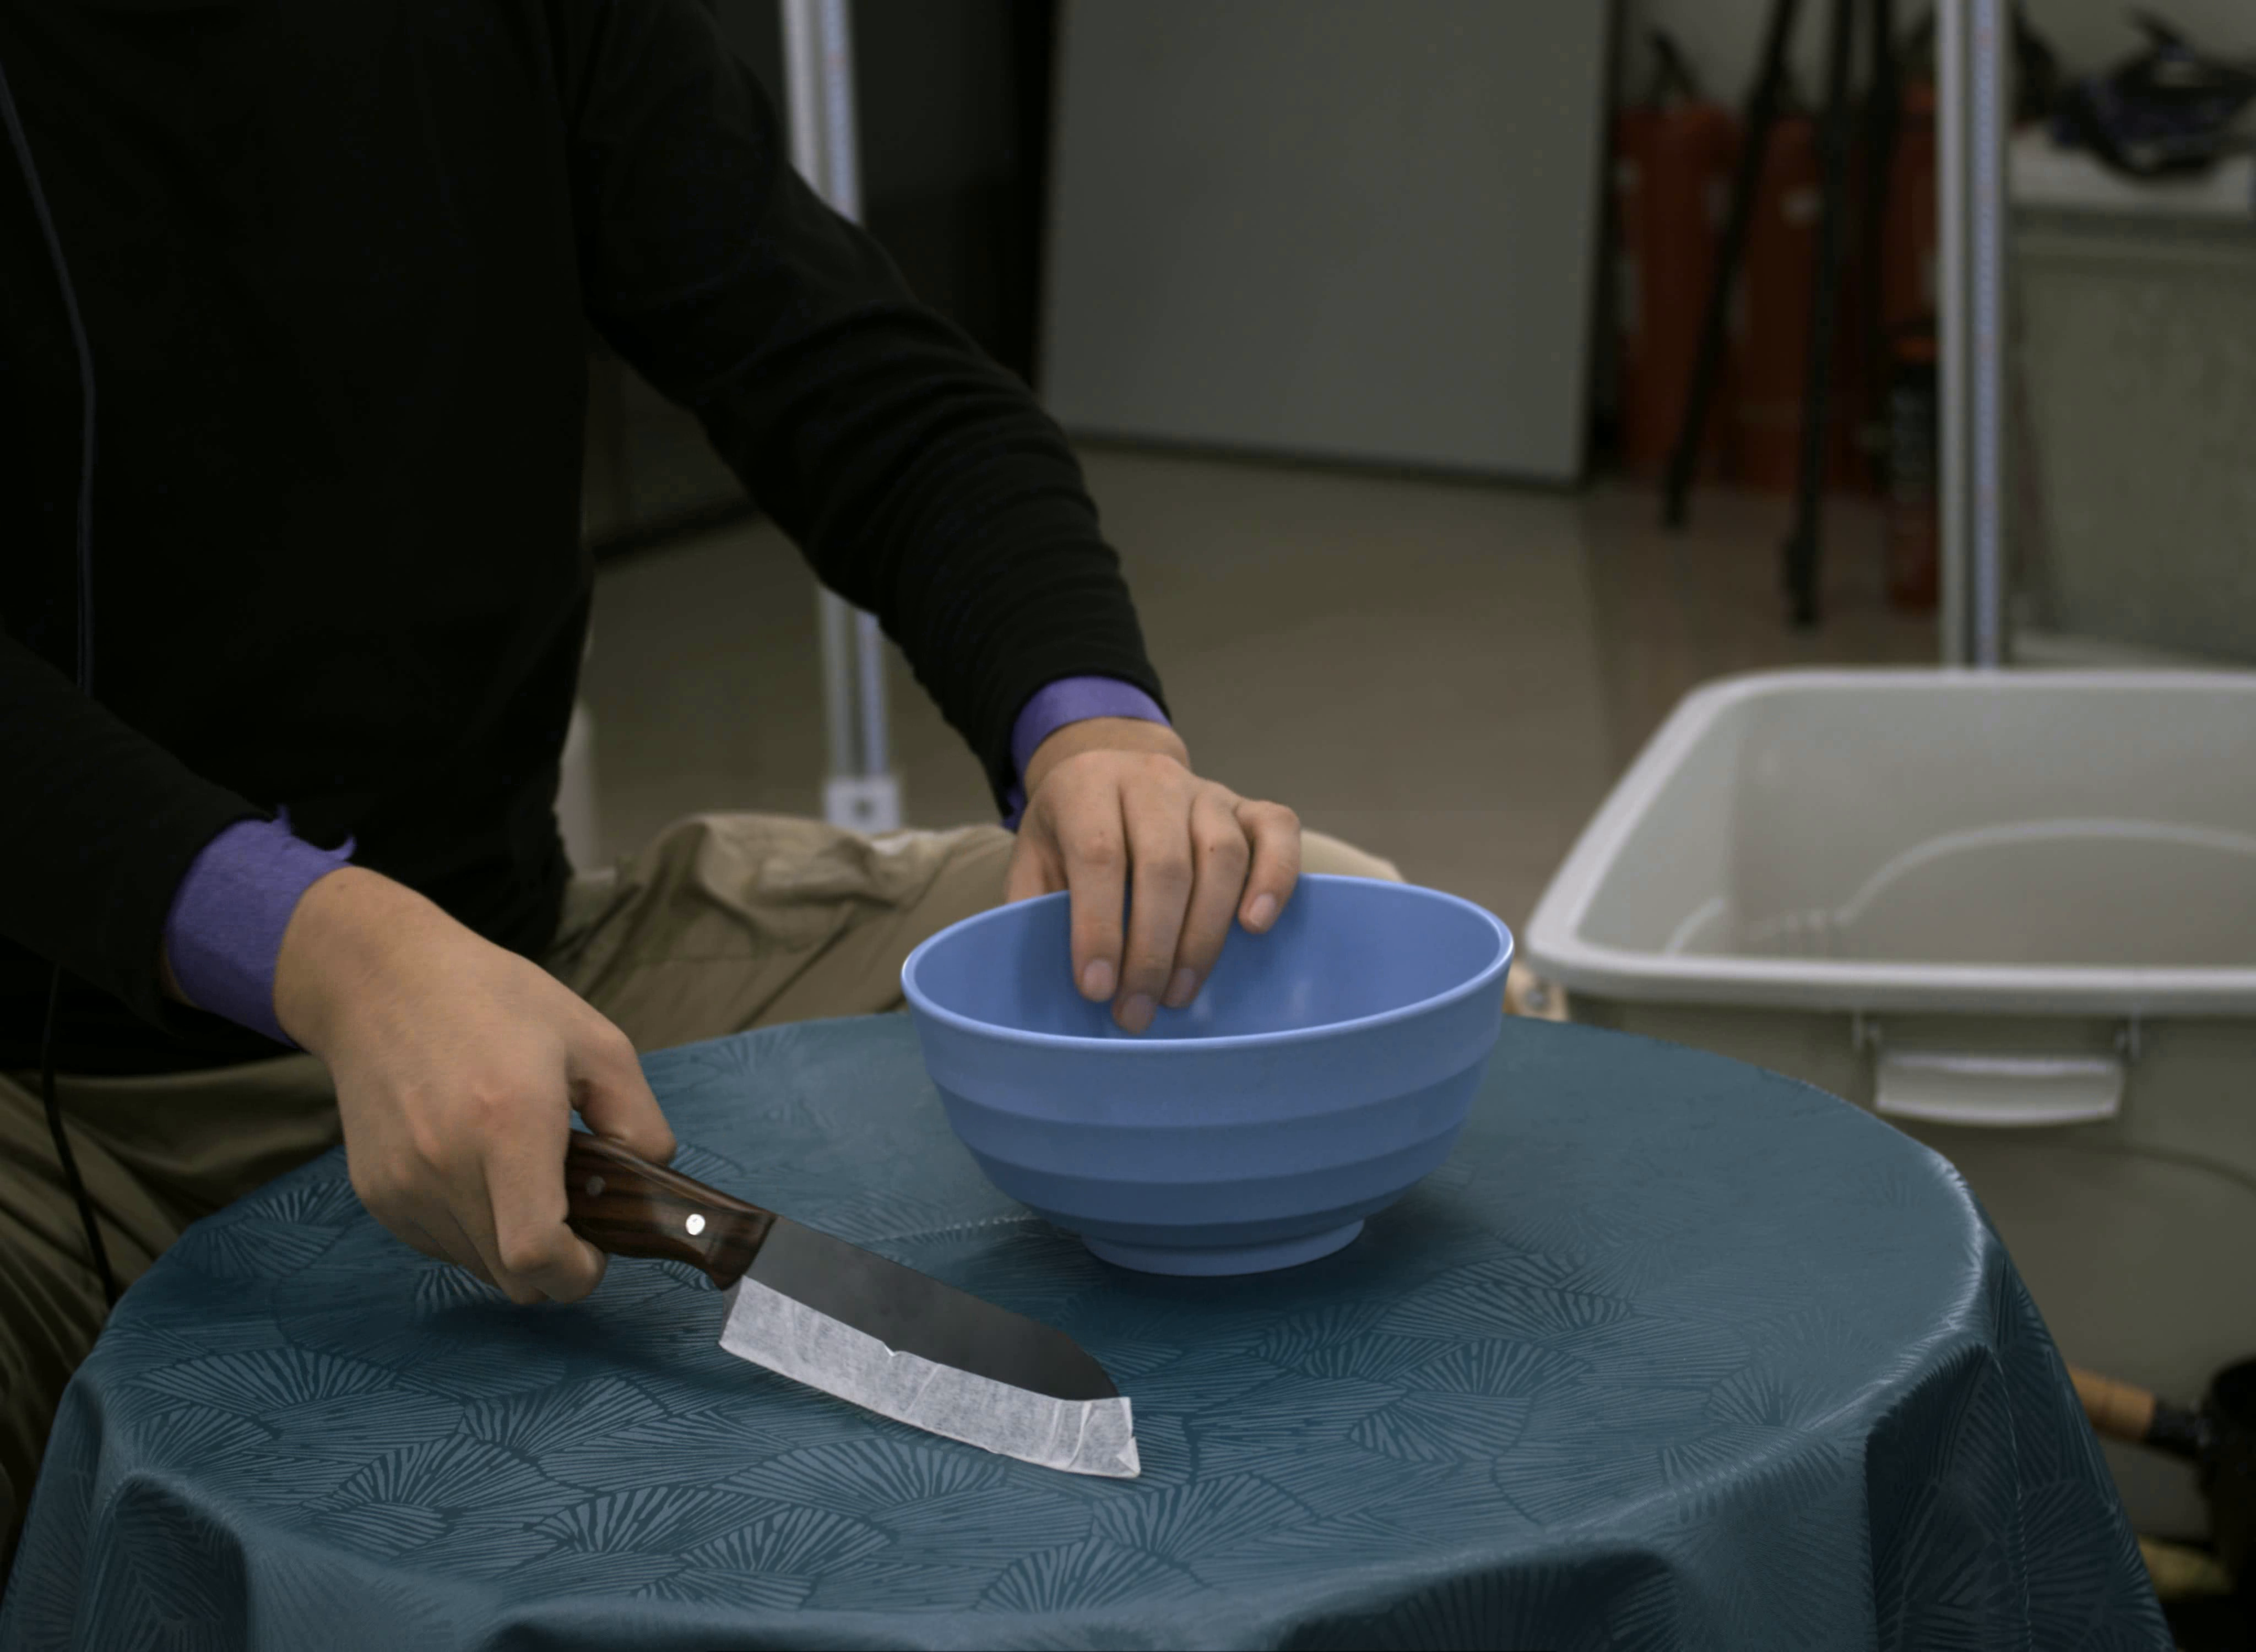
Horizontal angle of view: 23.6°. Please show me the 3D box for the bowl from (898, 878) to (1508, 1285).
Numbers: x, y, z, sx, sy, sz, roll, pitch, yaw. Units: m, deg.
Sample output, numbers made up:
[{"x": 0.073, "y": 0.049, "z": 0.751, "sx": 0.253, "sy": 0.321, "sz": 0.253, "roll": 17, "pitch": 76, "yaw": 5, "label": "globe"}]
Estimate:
[{"x": 0.028, "y": 0.086, "z": 1.717, "sx": 0.194, "sy": 0.096, "sz": 0.197, "roll": -6, "pitch": 13, "yaw": 0, "label": "bowl"}]

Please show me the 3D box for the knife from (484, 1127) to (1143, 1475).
[{"x": -0.097, "y": 0.140, "z": 1.610, "sx": 0.292, "sy": 0.050, "sz": 0.019, "roll": 20, "pitch": -5, "yaw": 42, "label": "knife"}]
